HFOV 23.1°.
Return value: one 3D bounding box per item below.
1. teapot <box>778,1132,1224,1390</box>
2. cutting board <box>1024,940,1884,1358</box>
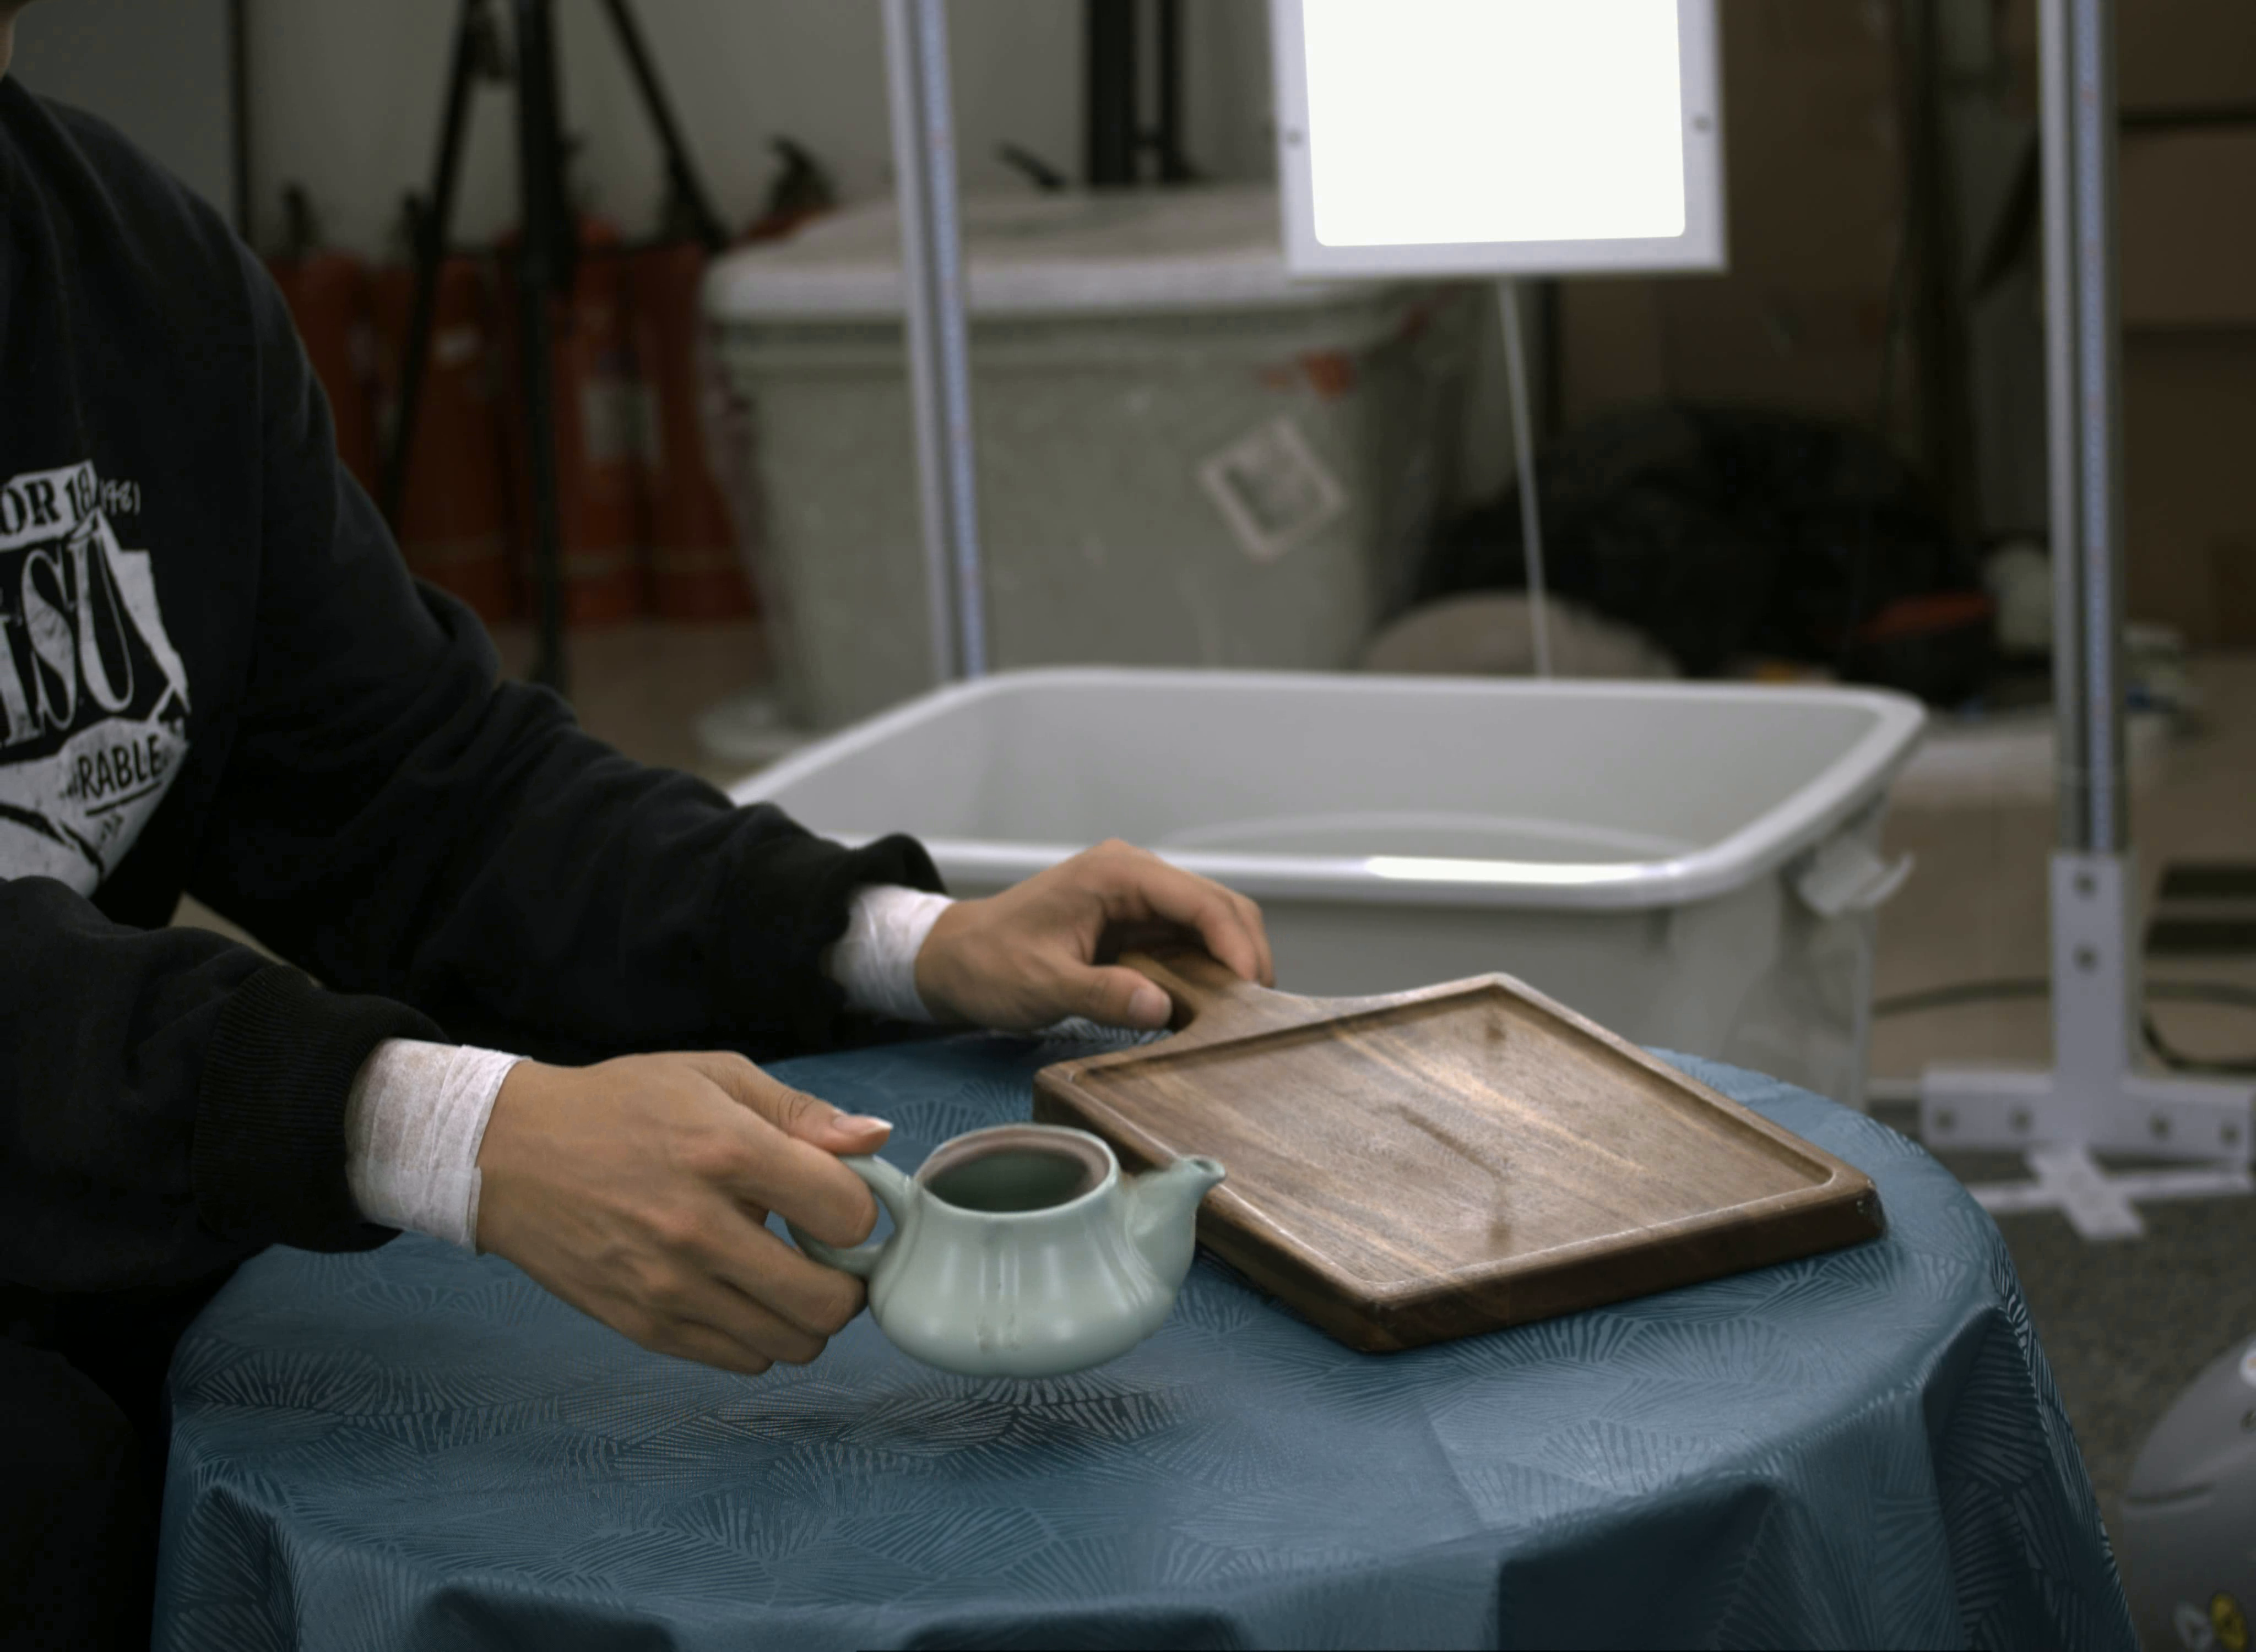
[{"bbox_3d":[-0.038,0.131,1.679,0.137,0.061,0.095,0,24,6],"label":"teapot"},{"bbox_3d":[0.083,0.097,1.891,0.197,0.023,0.358,-11,20,-24],"label":"cutting board"}]
